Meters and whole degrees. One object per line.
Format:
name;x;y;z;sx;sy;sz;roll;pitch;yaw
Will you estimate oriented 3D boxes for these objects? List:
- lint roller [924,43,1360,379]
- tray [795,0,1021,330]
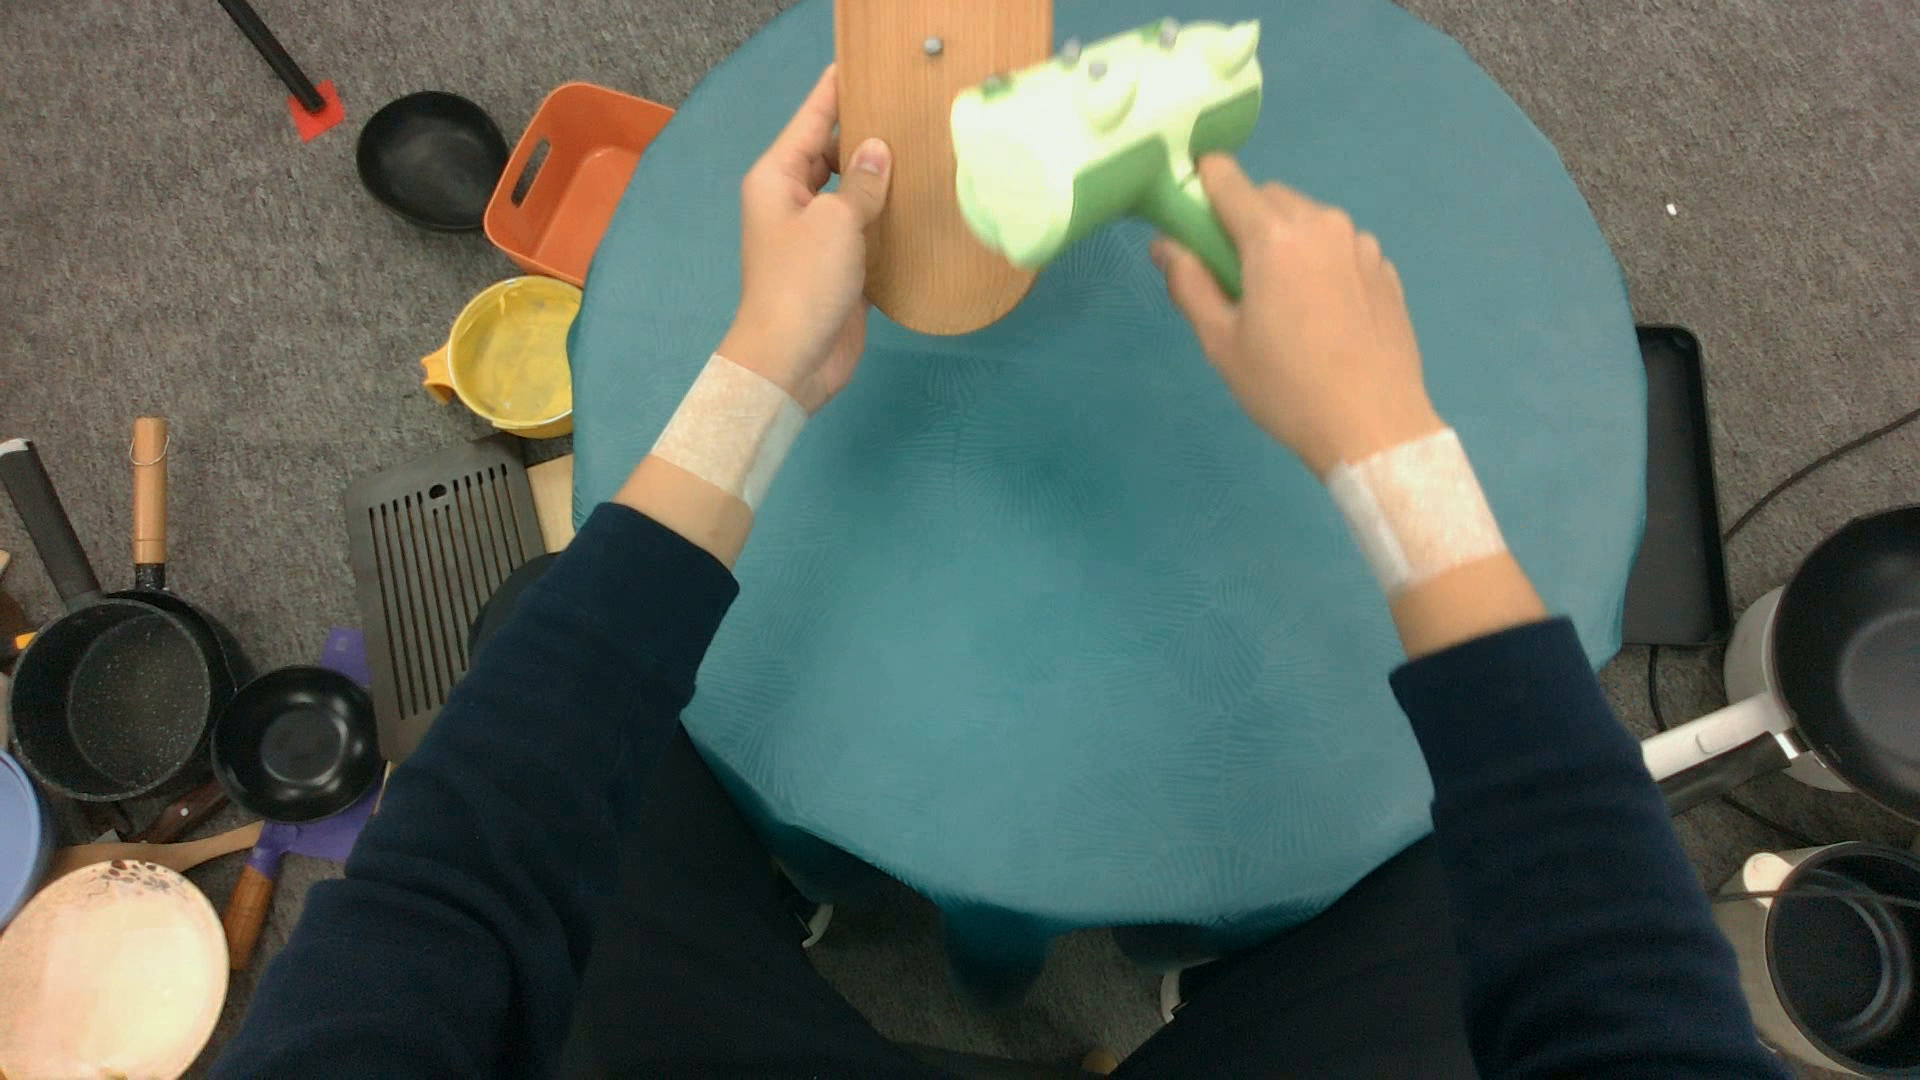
lint roller;0.106;-0.145;0.594;0.183;0.082;0.199;34;43;14
tray;-0.022;-0.211;0.619;0.101;0.020;0.230;0;104;20
